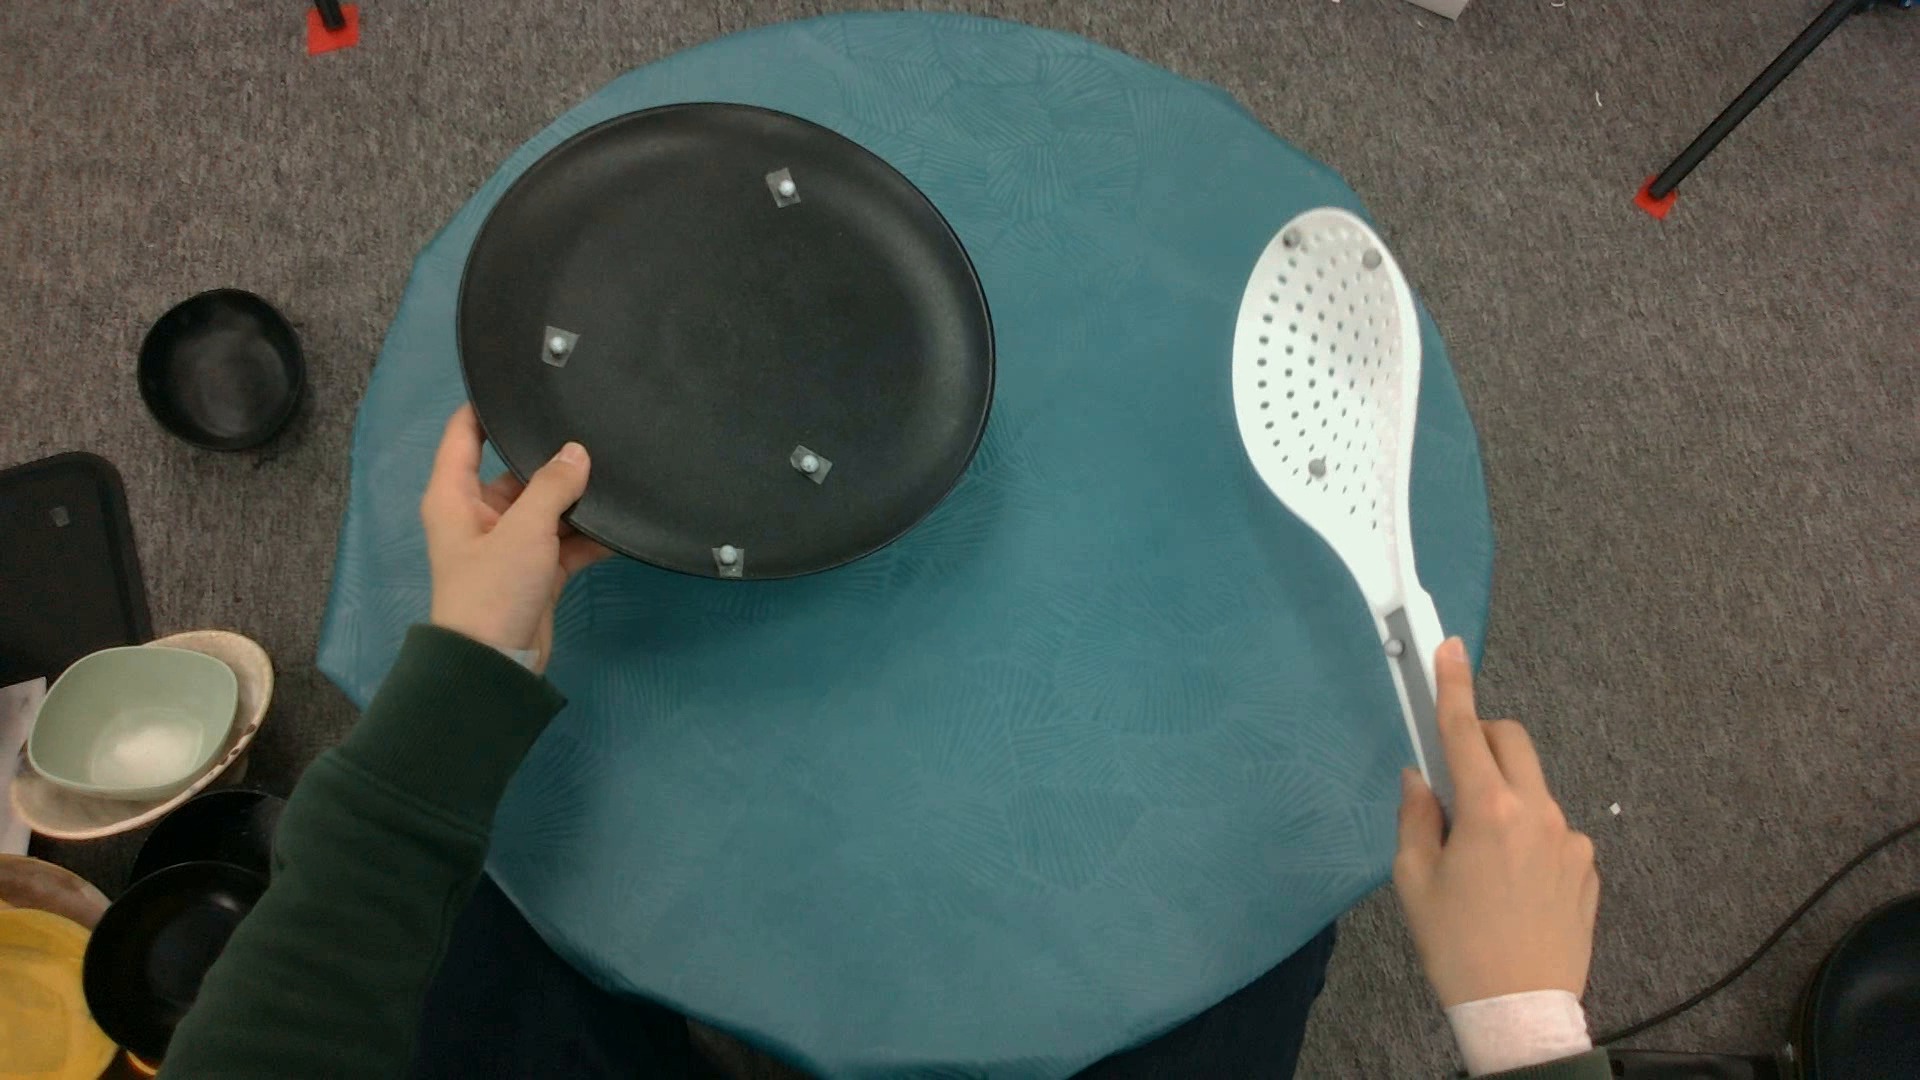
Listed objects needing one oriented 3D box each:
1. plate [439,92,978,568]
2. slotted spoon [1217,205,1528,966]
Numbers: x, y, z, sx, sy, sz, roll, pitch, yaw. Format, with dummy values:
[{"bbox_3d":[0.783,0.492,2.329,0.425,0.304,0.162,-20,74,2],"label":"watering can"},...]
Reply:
[{"bbox_3d":[-0.111,-0.100,0.639,0.244,0.023,0.245,5,69,-14],"label":"plate"},{"bbox_3d":[0.184,0.009,0.615,0.046,0.135,0.351,1,66,-18],"label":"slotted spoon"}]
